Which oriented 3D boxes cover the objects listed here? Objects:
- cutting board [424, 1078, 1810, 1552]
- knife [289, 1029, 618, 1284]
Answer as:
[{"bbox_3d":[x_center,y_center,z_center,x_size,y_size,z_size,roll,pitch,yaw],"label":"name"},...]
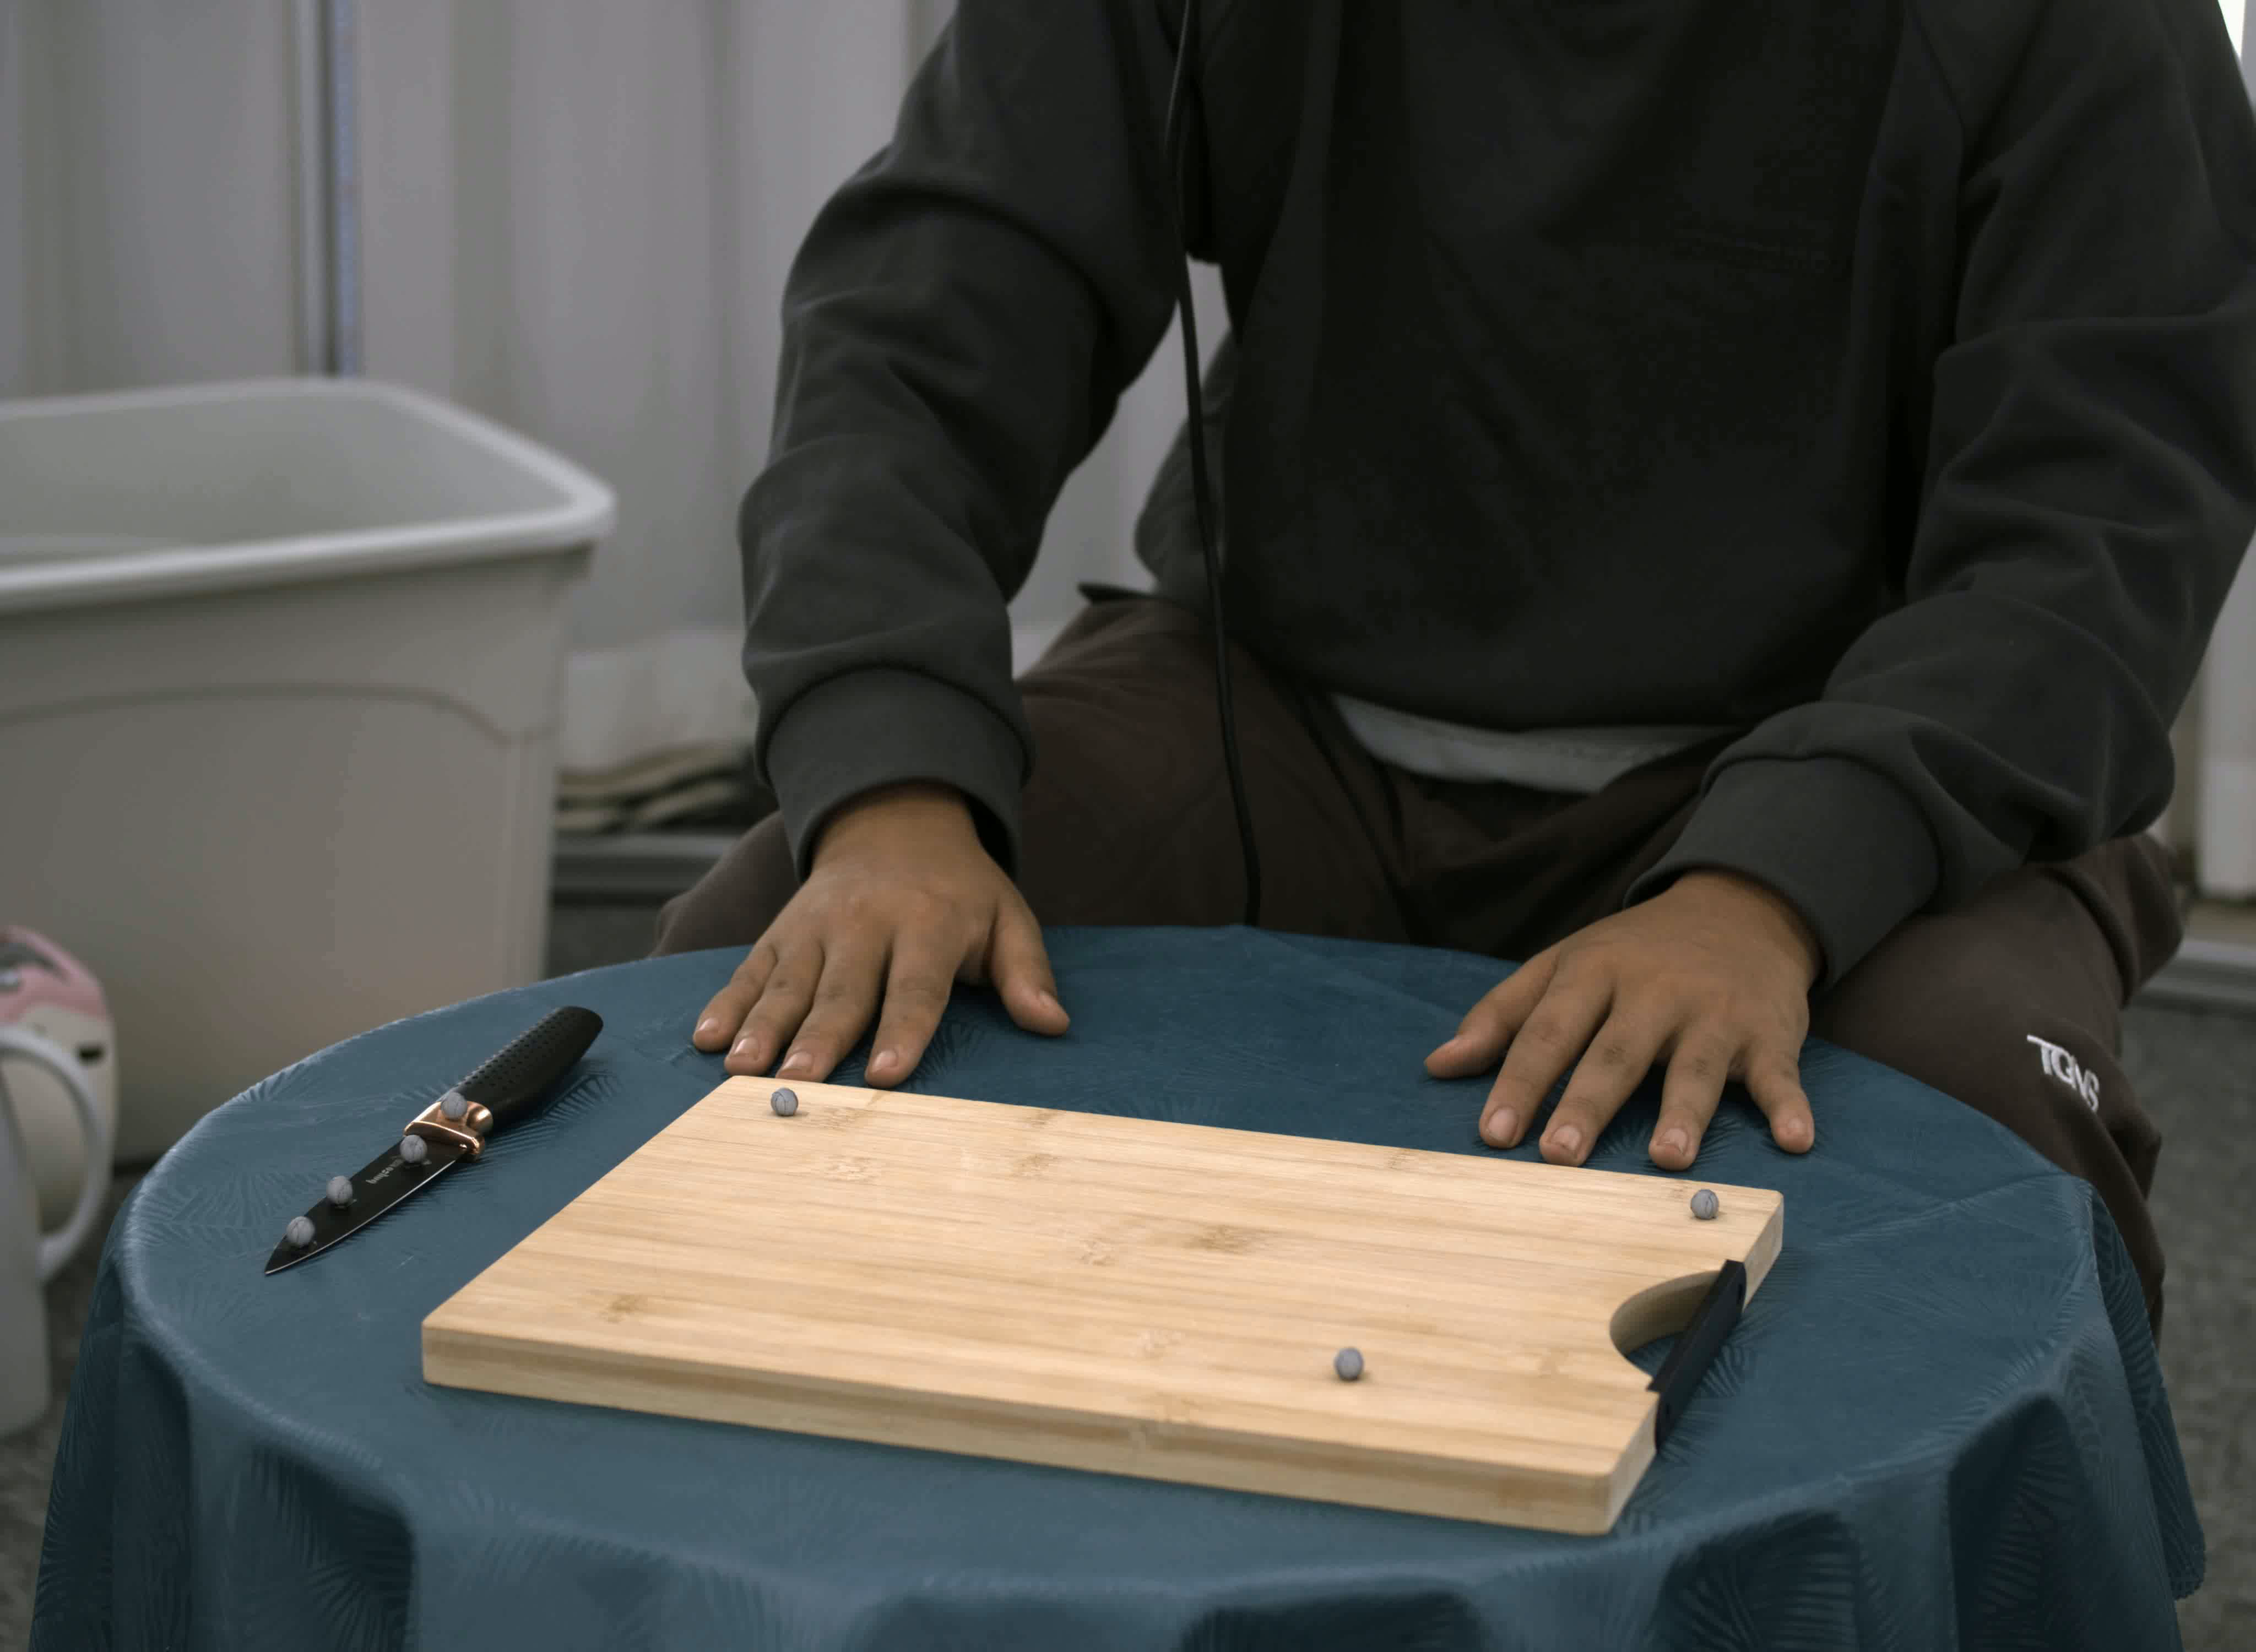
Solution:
[{"bbox_3d":[0.005,0.134,1.519,0.346,0.024,0.250,5,16,16],"label":"cutting board"},{"bbox_3d":[-0.211,0.101,1.637,0.026,0.017,0.225,13,19,16],"label":"knife"}]
